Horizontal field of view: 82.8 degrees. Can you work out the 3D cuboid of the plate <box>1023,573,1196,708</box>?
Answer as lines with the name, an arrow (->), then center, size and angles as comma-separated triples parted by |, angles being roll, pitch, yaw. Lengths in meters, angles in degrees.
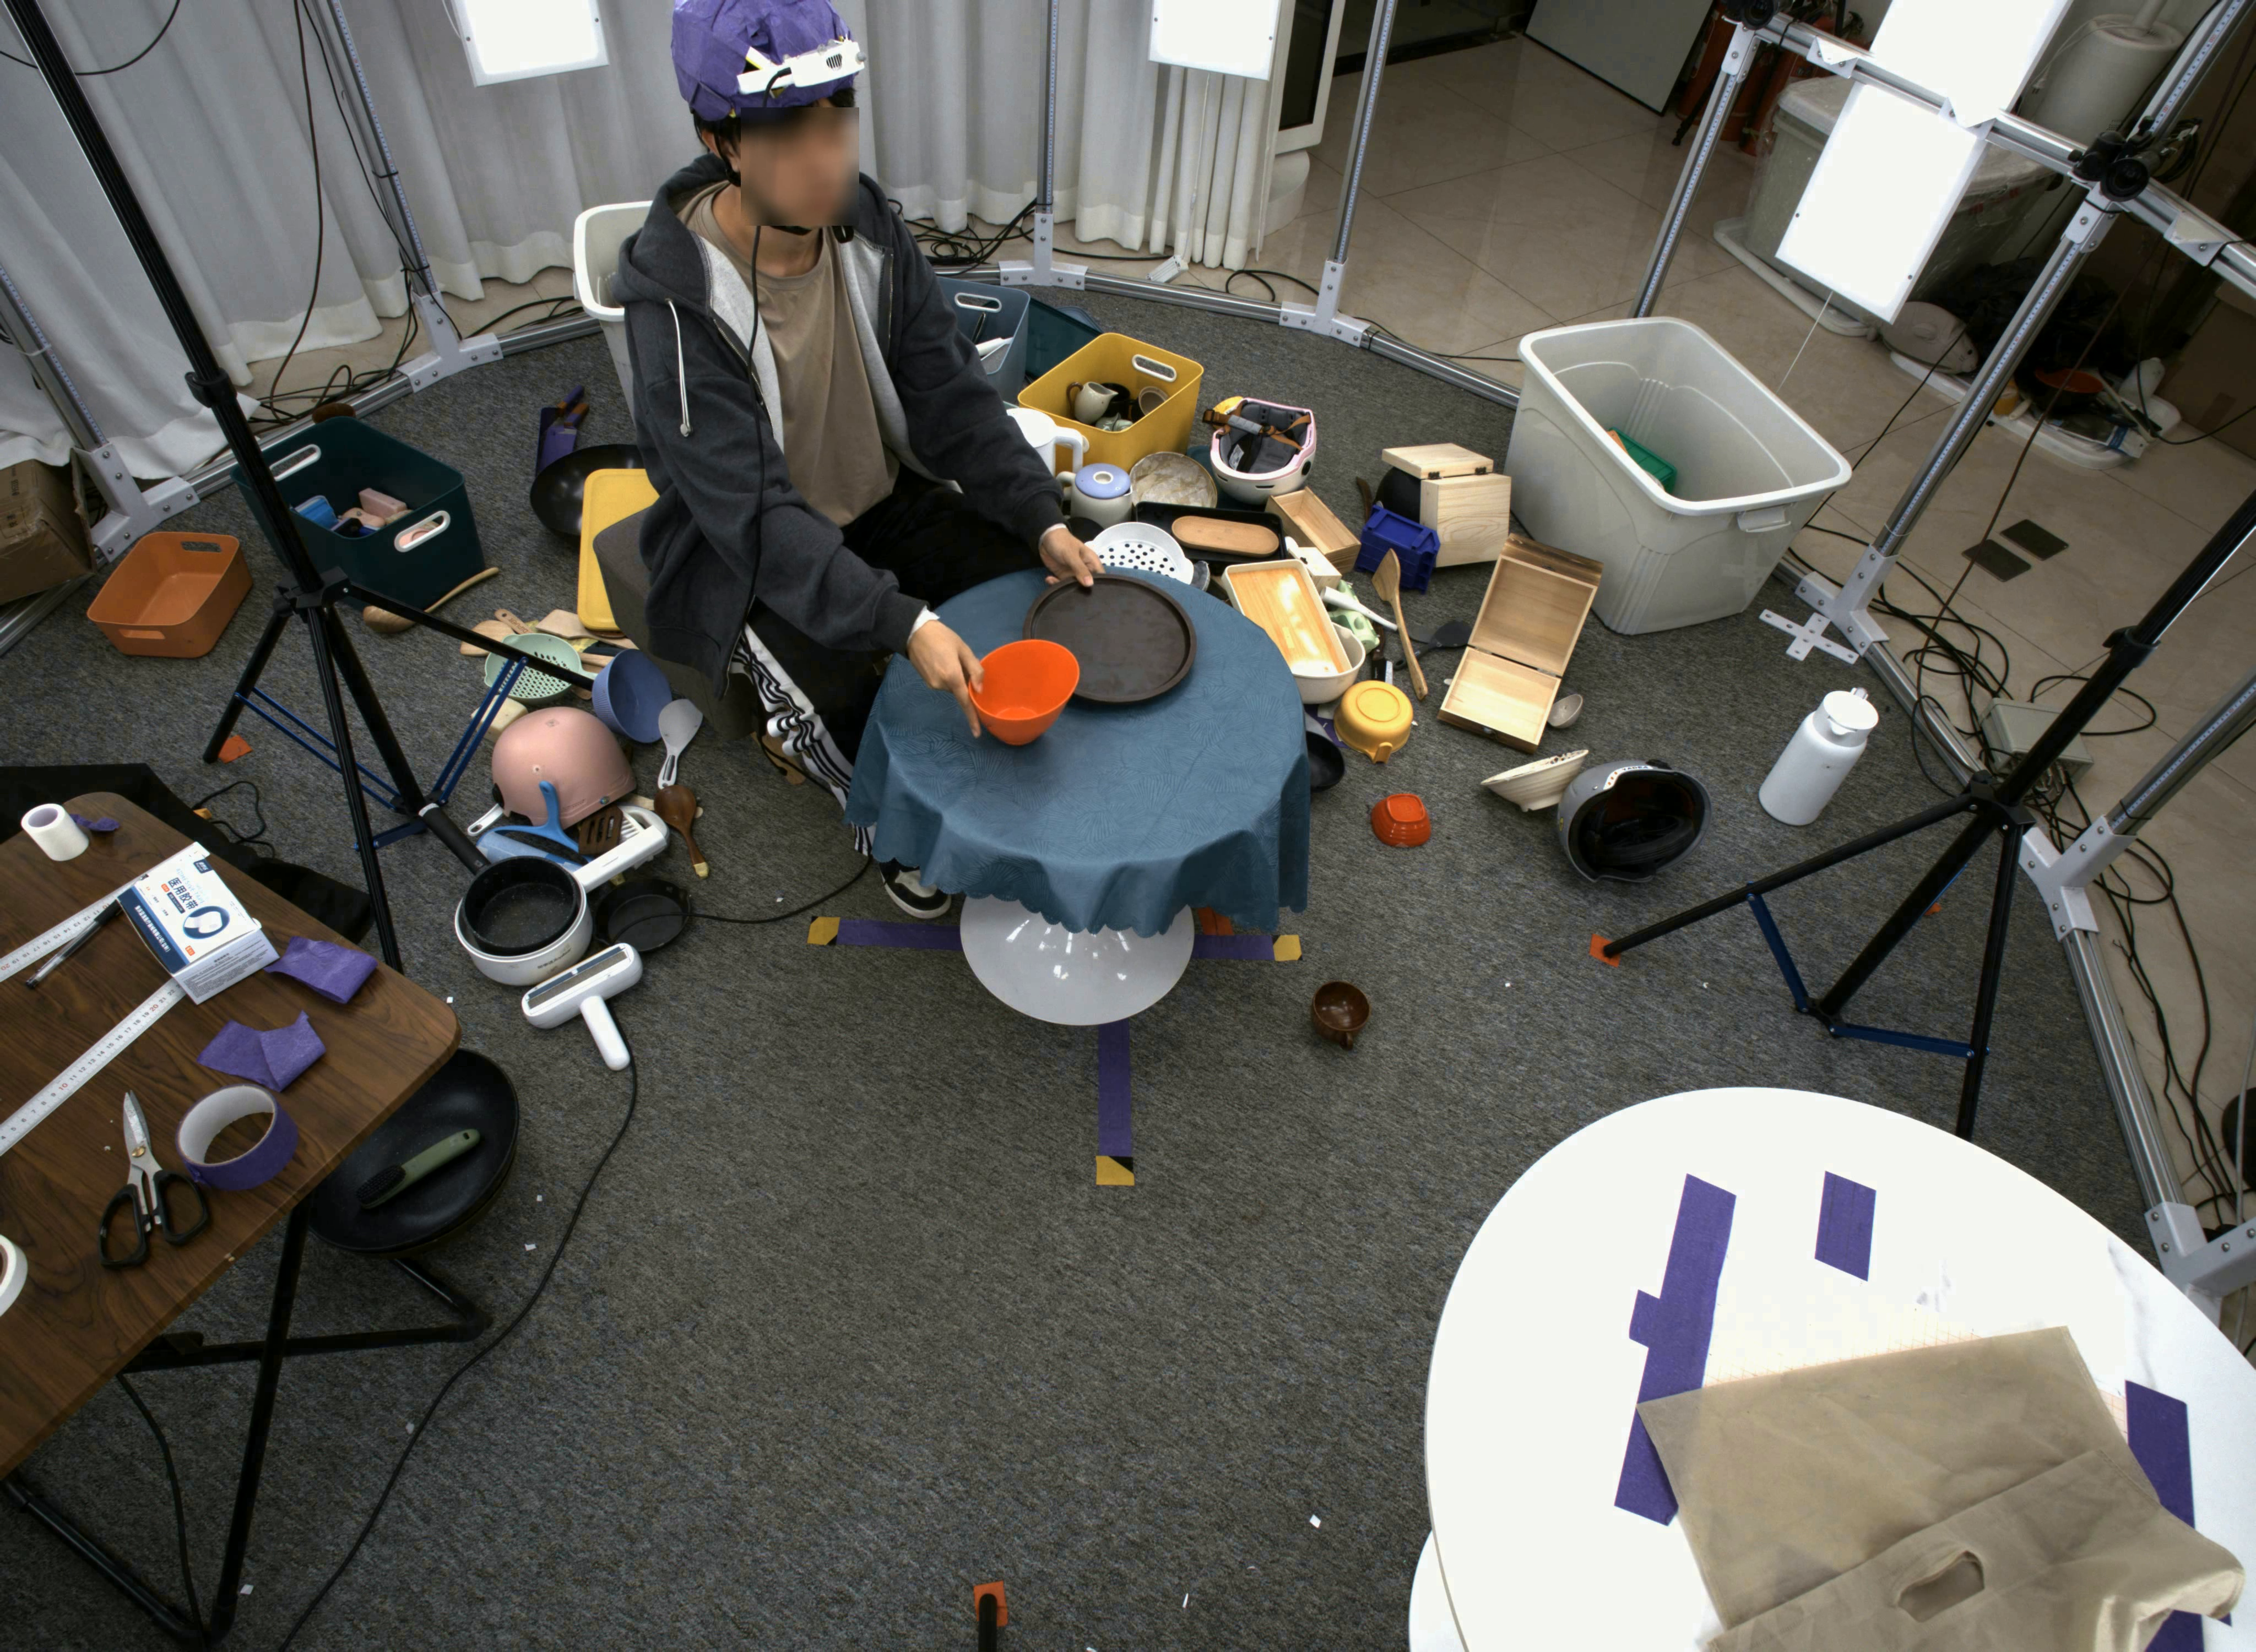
plate -> -0.027, -0.271, 1.868 | 0.254, 0.028, 0.261 | 3, 54, -4

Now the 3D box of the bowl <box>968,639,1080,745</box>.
bowl -> -0.139, -0.169, 1.726 | 0.148, 0.102, 0.152 | 2, 51, -2
